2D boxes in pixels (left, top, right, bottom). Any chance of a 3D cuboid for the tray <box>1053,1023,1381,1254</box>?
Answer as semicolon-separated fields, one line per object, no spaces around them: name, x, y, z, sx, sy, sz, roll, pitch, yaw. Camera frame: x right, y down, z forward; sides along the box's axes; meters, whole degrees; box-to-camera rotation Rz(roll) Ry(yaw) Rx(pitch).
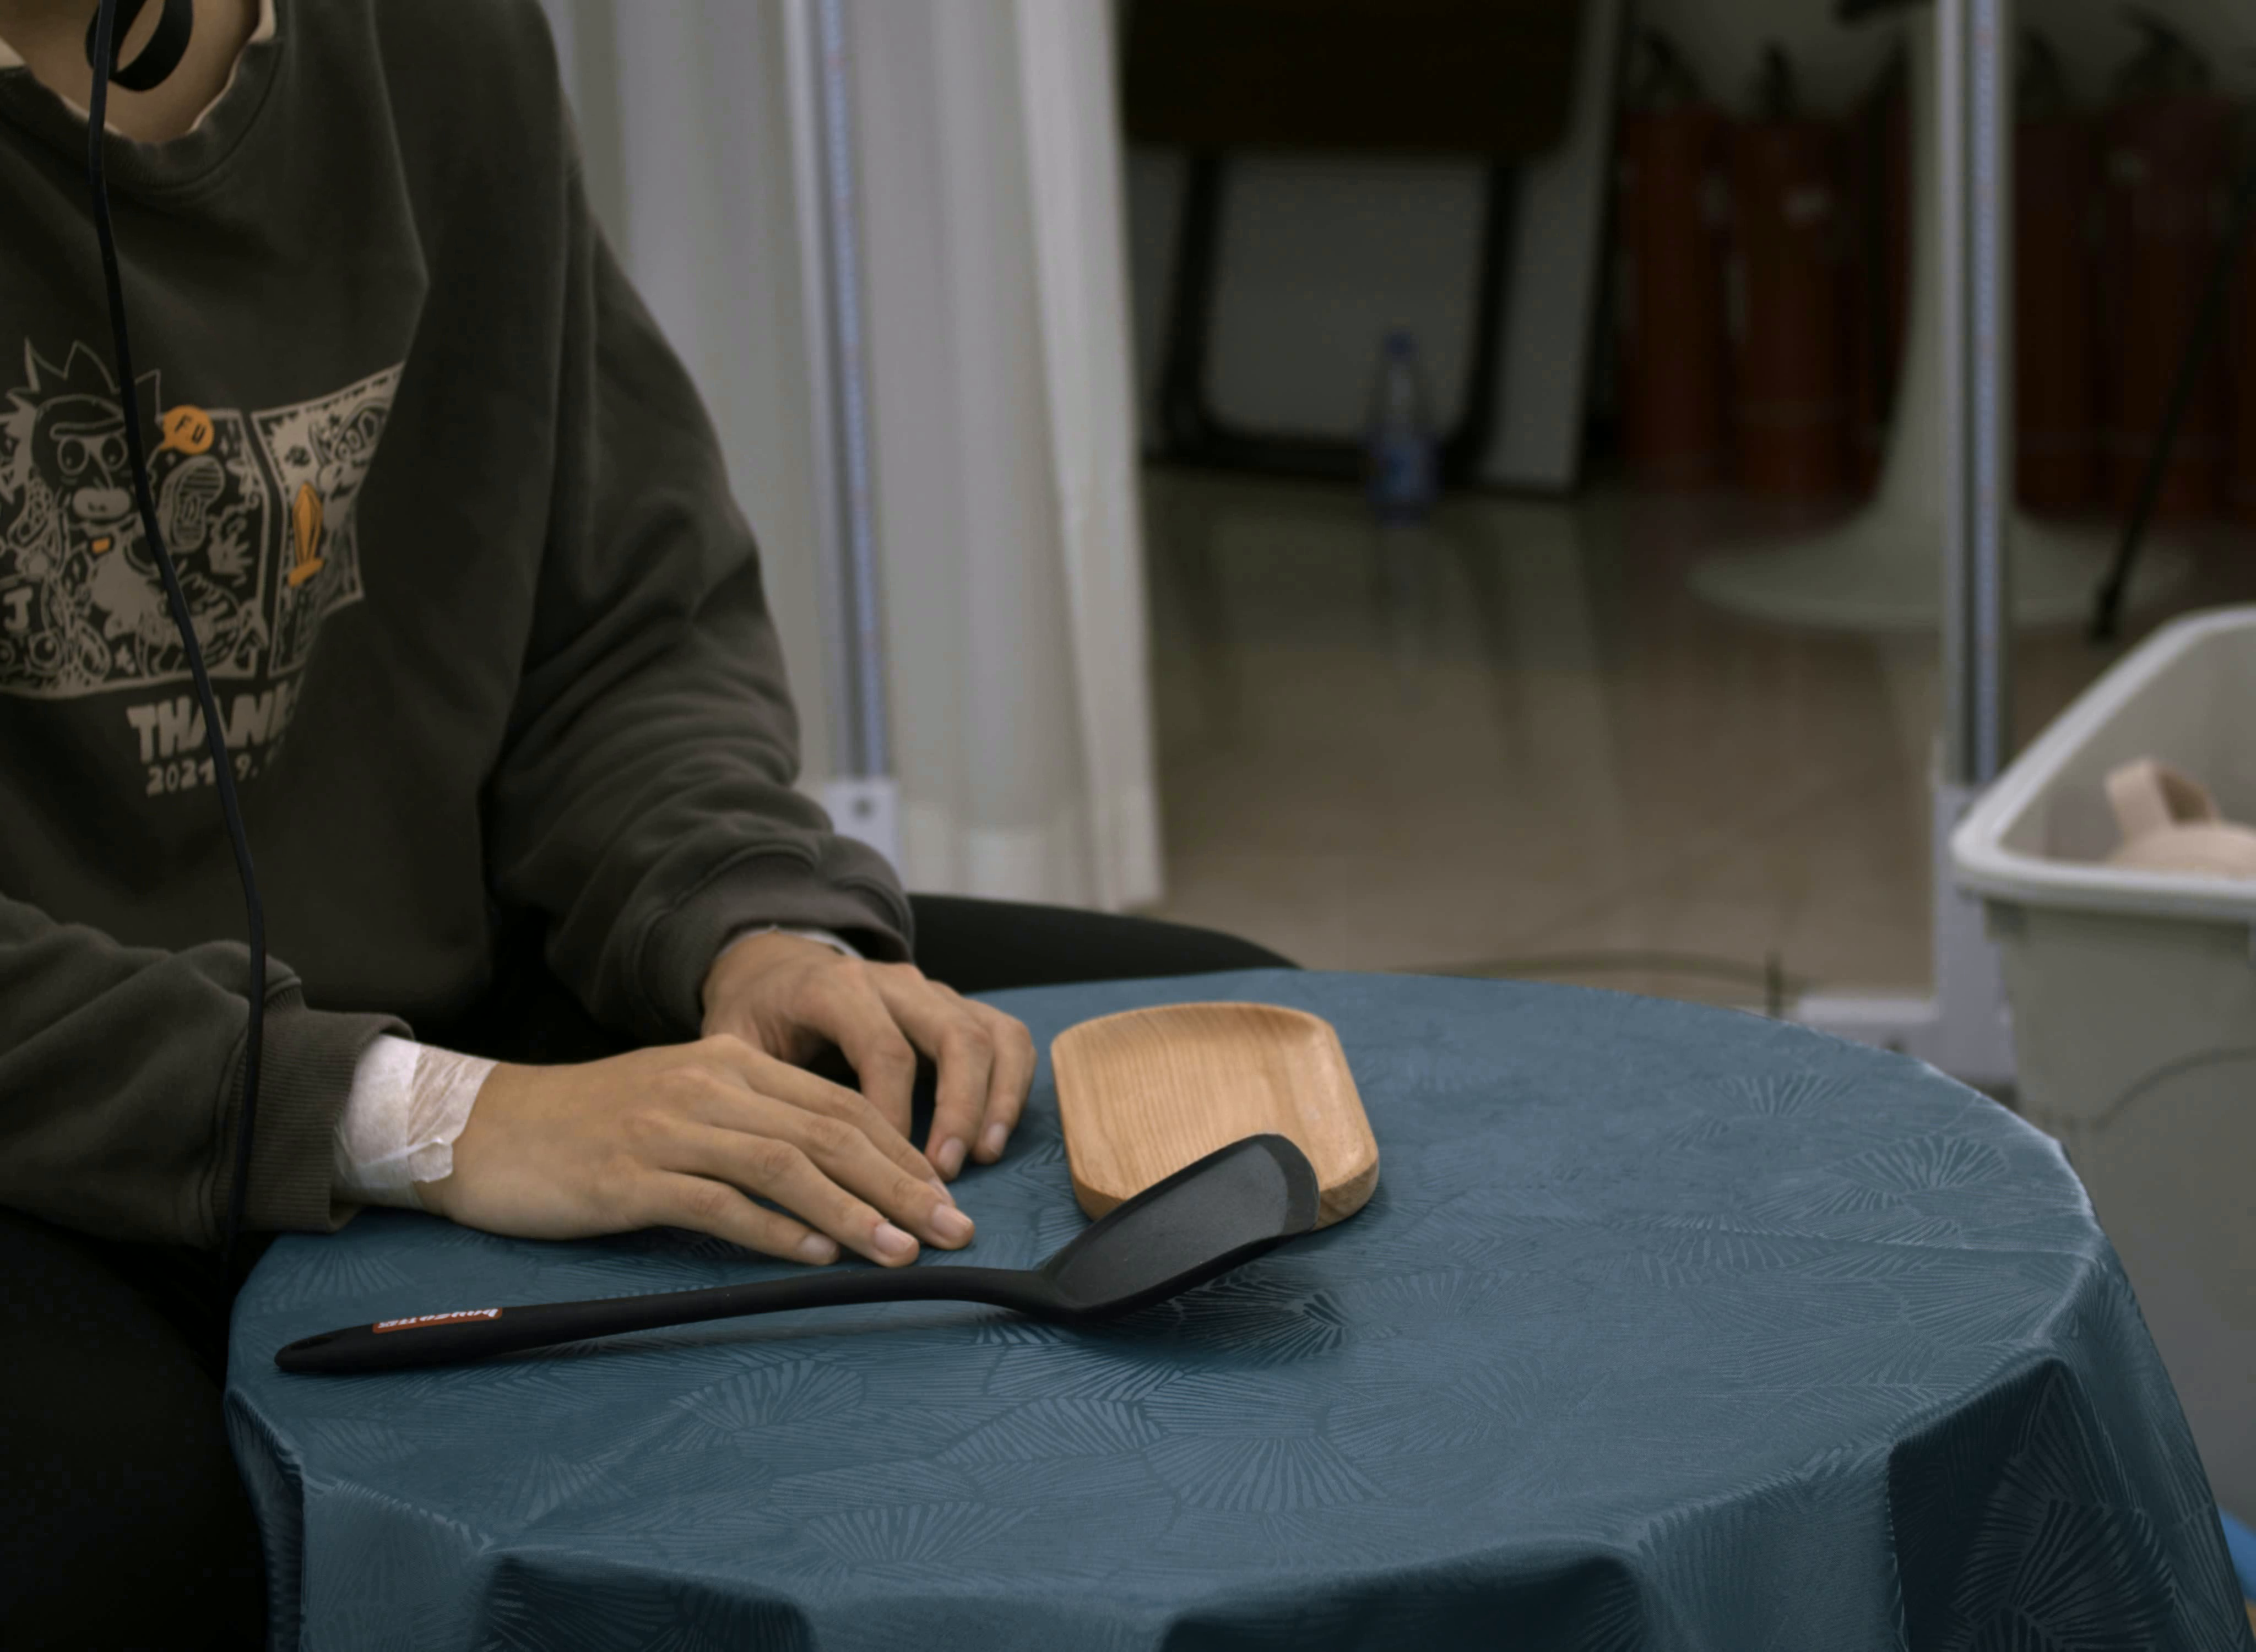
tray;0.028;0.103;1.813;0.100;0.020;0.232;-5;14;-2

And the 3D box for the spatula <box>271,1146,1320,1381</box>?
spatula;-0.101;0.140;1.654;0.321;0.041;0.100;-4;12;-1
